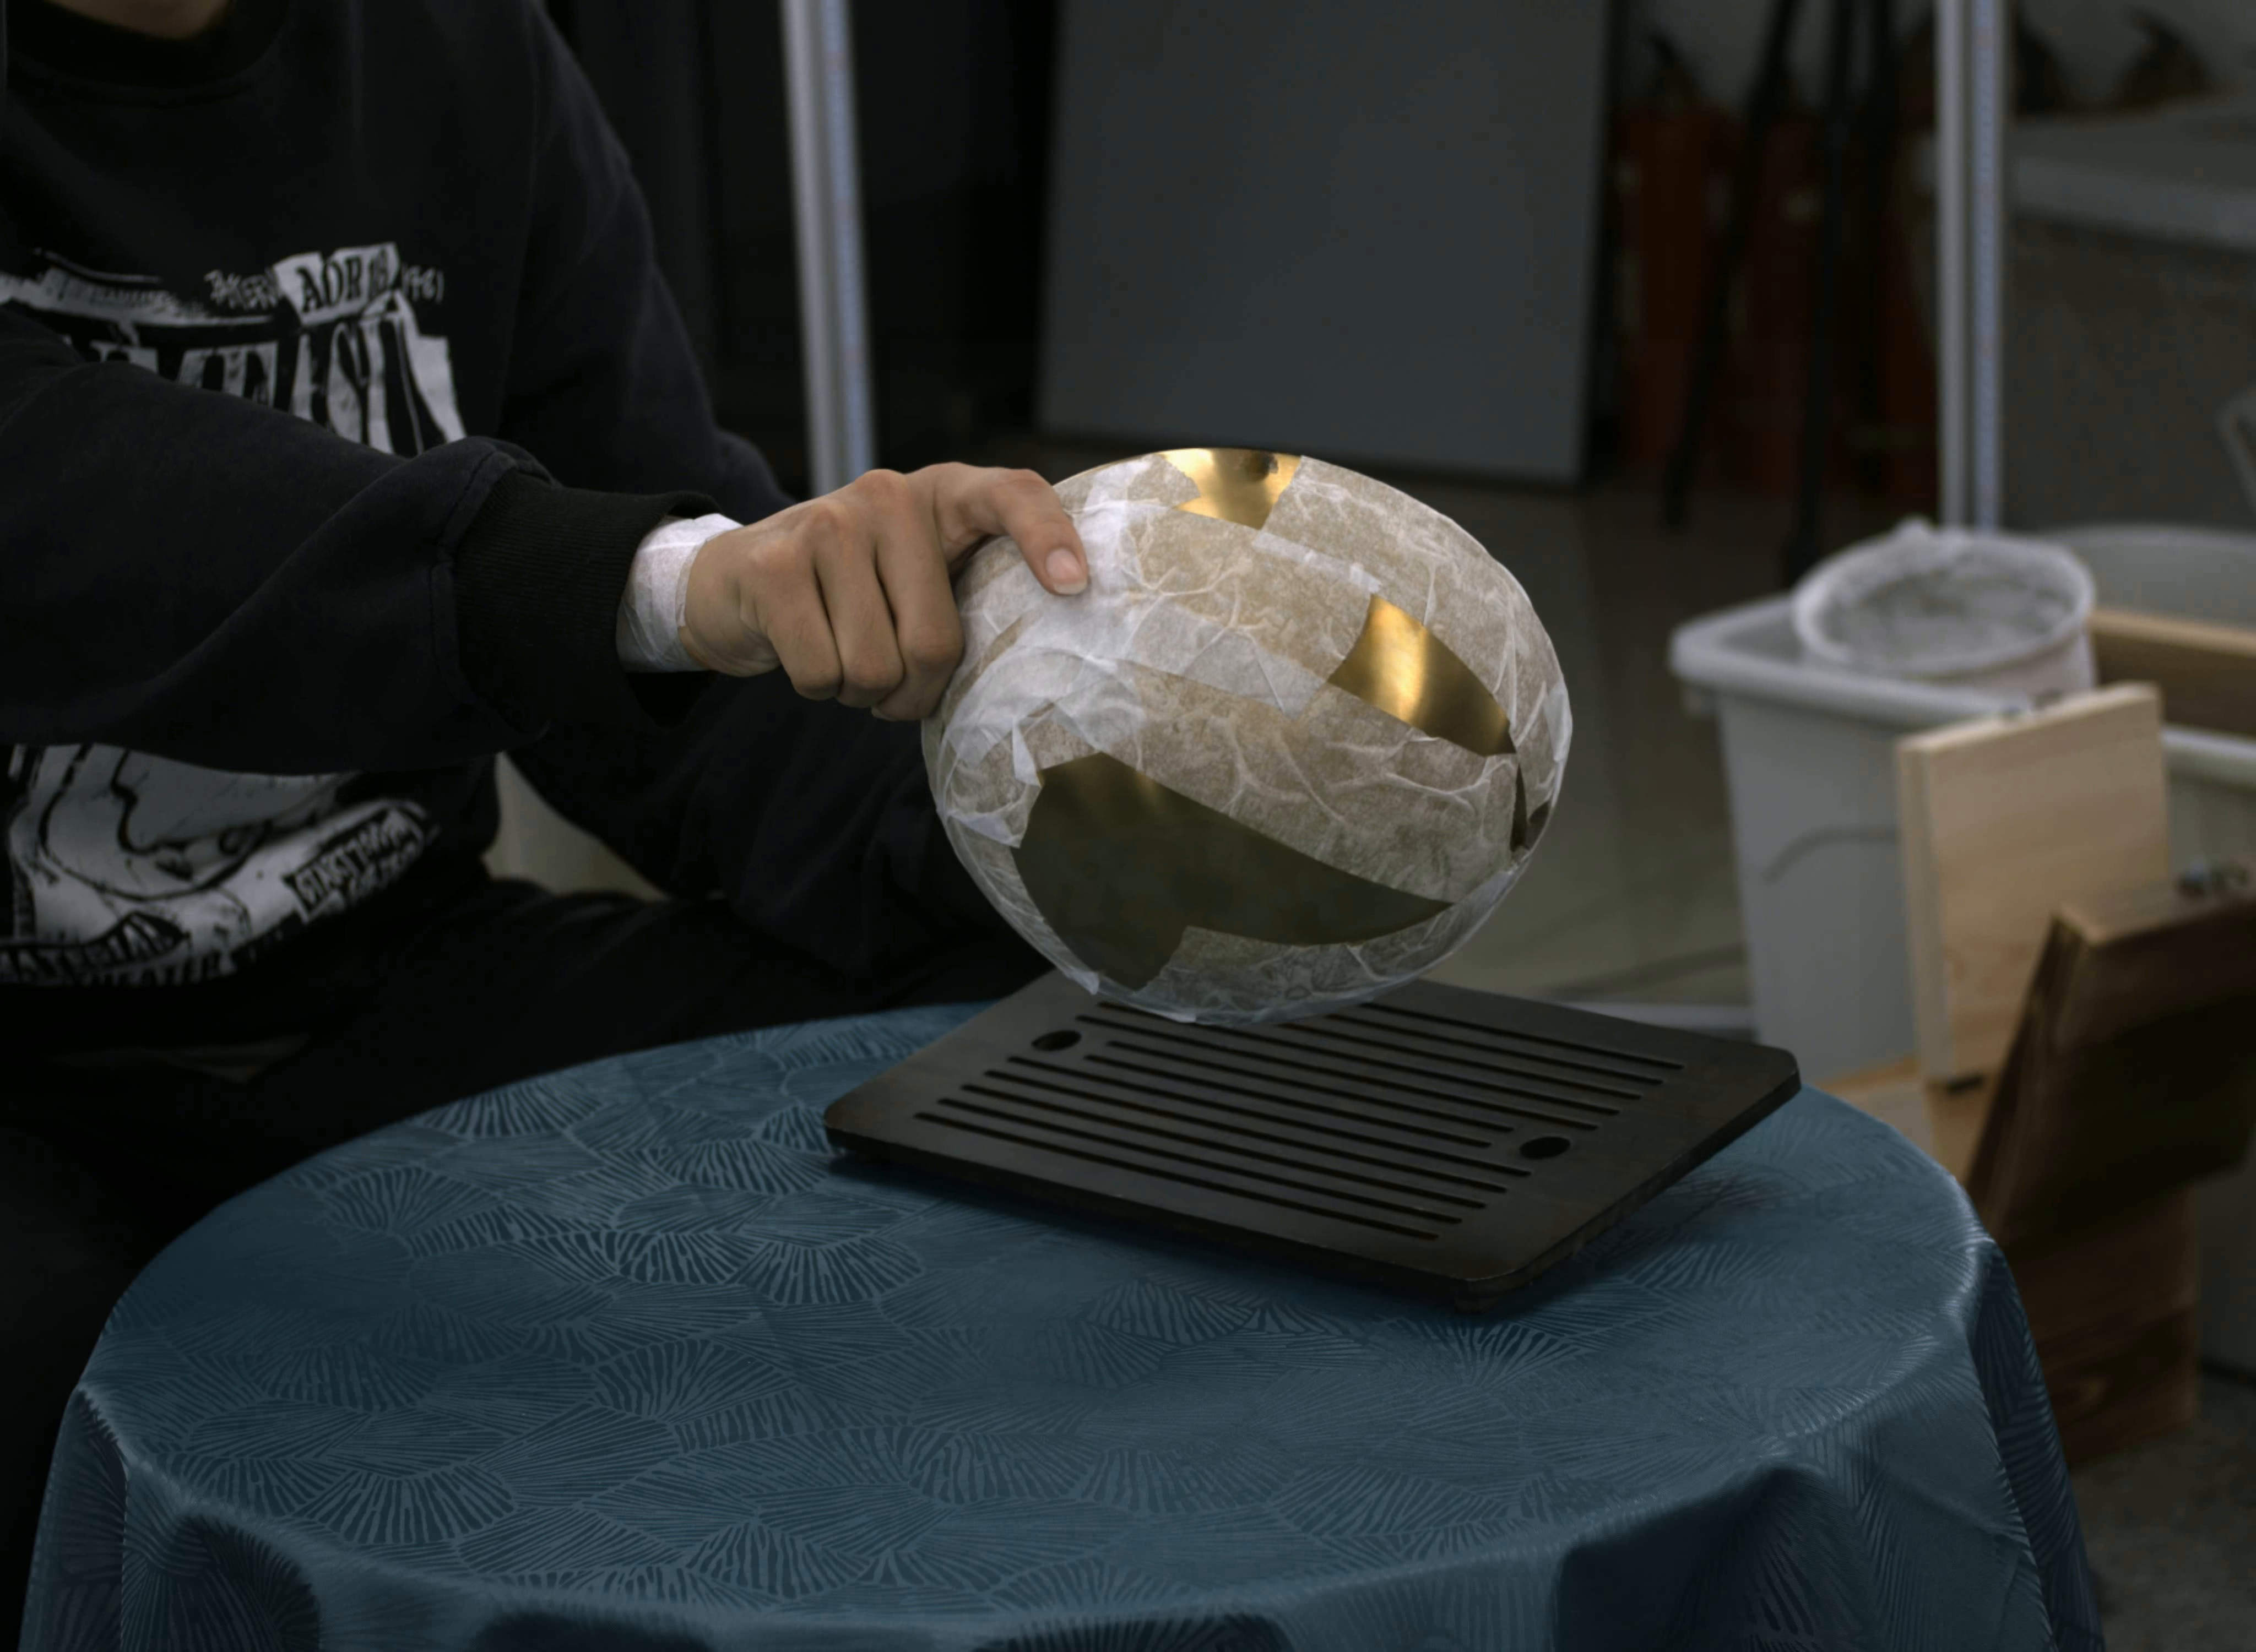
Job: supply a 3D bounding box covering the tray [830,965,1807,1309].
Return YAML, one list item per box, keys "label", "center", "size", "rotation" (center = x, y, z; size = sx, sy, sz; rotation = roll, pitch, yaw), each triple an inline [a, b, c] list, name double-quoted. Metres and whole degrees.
- label: "tray"
  center: [0.059, 0.093, 1.773]
  size: [0.309, 0.019, 0.167]
  rotation: [9, 29, 44]

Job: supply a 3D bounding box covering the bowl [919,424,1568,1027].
- label: "bowl"
  center: [0.027, -0.009, 1.625]
  size: [0.213, 0.215, 0.095]
  rotation: [0, 40, 13]
